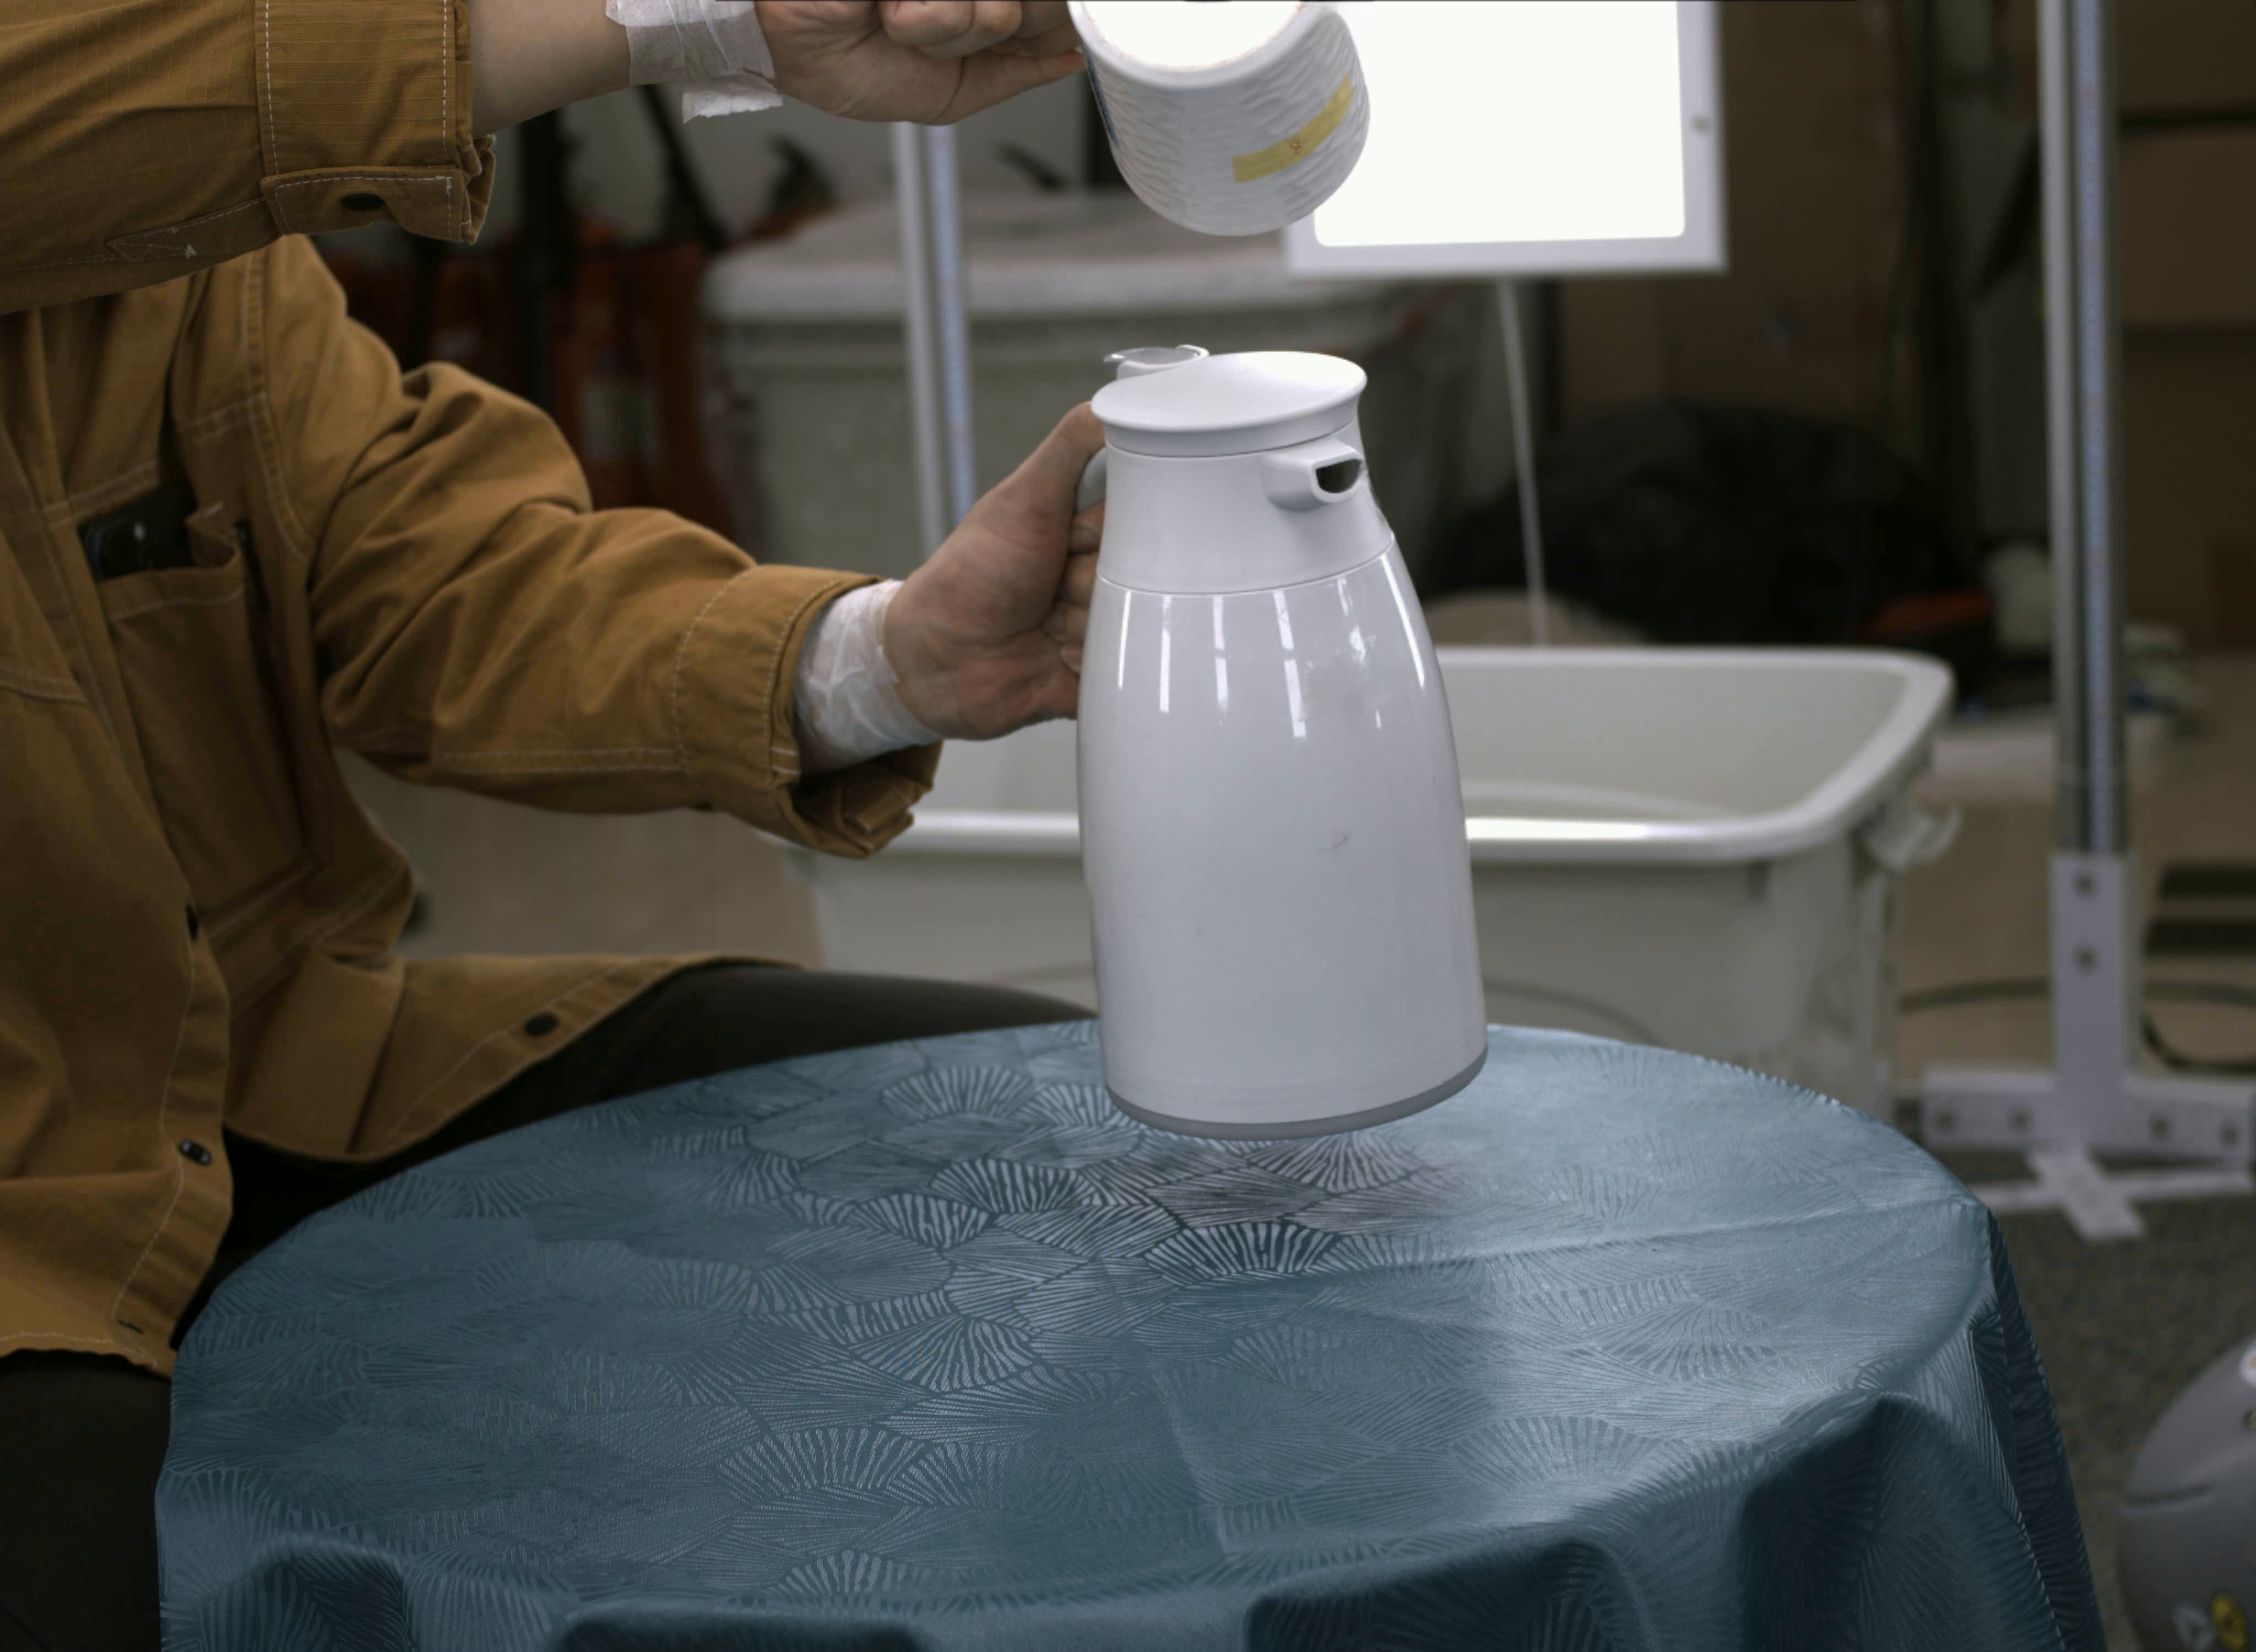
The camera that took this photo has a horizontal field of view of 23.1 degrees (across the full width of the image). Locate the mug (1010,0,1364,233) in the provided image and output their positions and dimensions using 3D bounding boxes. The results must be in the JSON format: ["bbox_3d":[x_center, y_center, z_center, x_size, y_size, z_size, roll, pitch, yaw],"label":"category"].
[{"bbox_3d":[0.013,-0.254,1.732,0.119,0.084,0.101,26,-15,19],"label":"mug"}]

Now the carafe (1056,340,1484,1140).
[{"bbox_3d":[0.032,-0.038,1.849,0.129,0.249,0.171,-18,21,-29],"label":"carafe"}]
